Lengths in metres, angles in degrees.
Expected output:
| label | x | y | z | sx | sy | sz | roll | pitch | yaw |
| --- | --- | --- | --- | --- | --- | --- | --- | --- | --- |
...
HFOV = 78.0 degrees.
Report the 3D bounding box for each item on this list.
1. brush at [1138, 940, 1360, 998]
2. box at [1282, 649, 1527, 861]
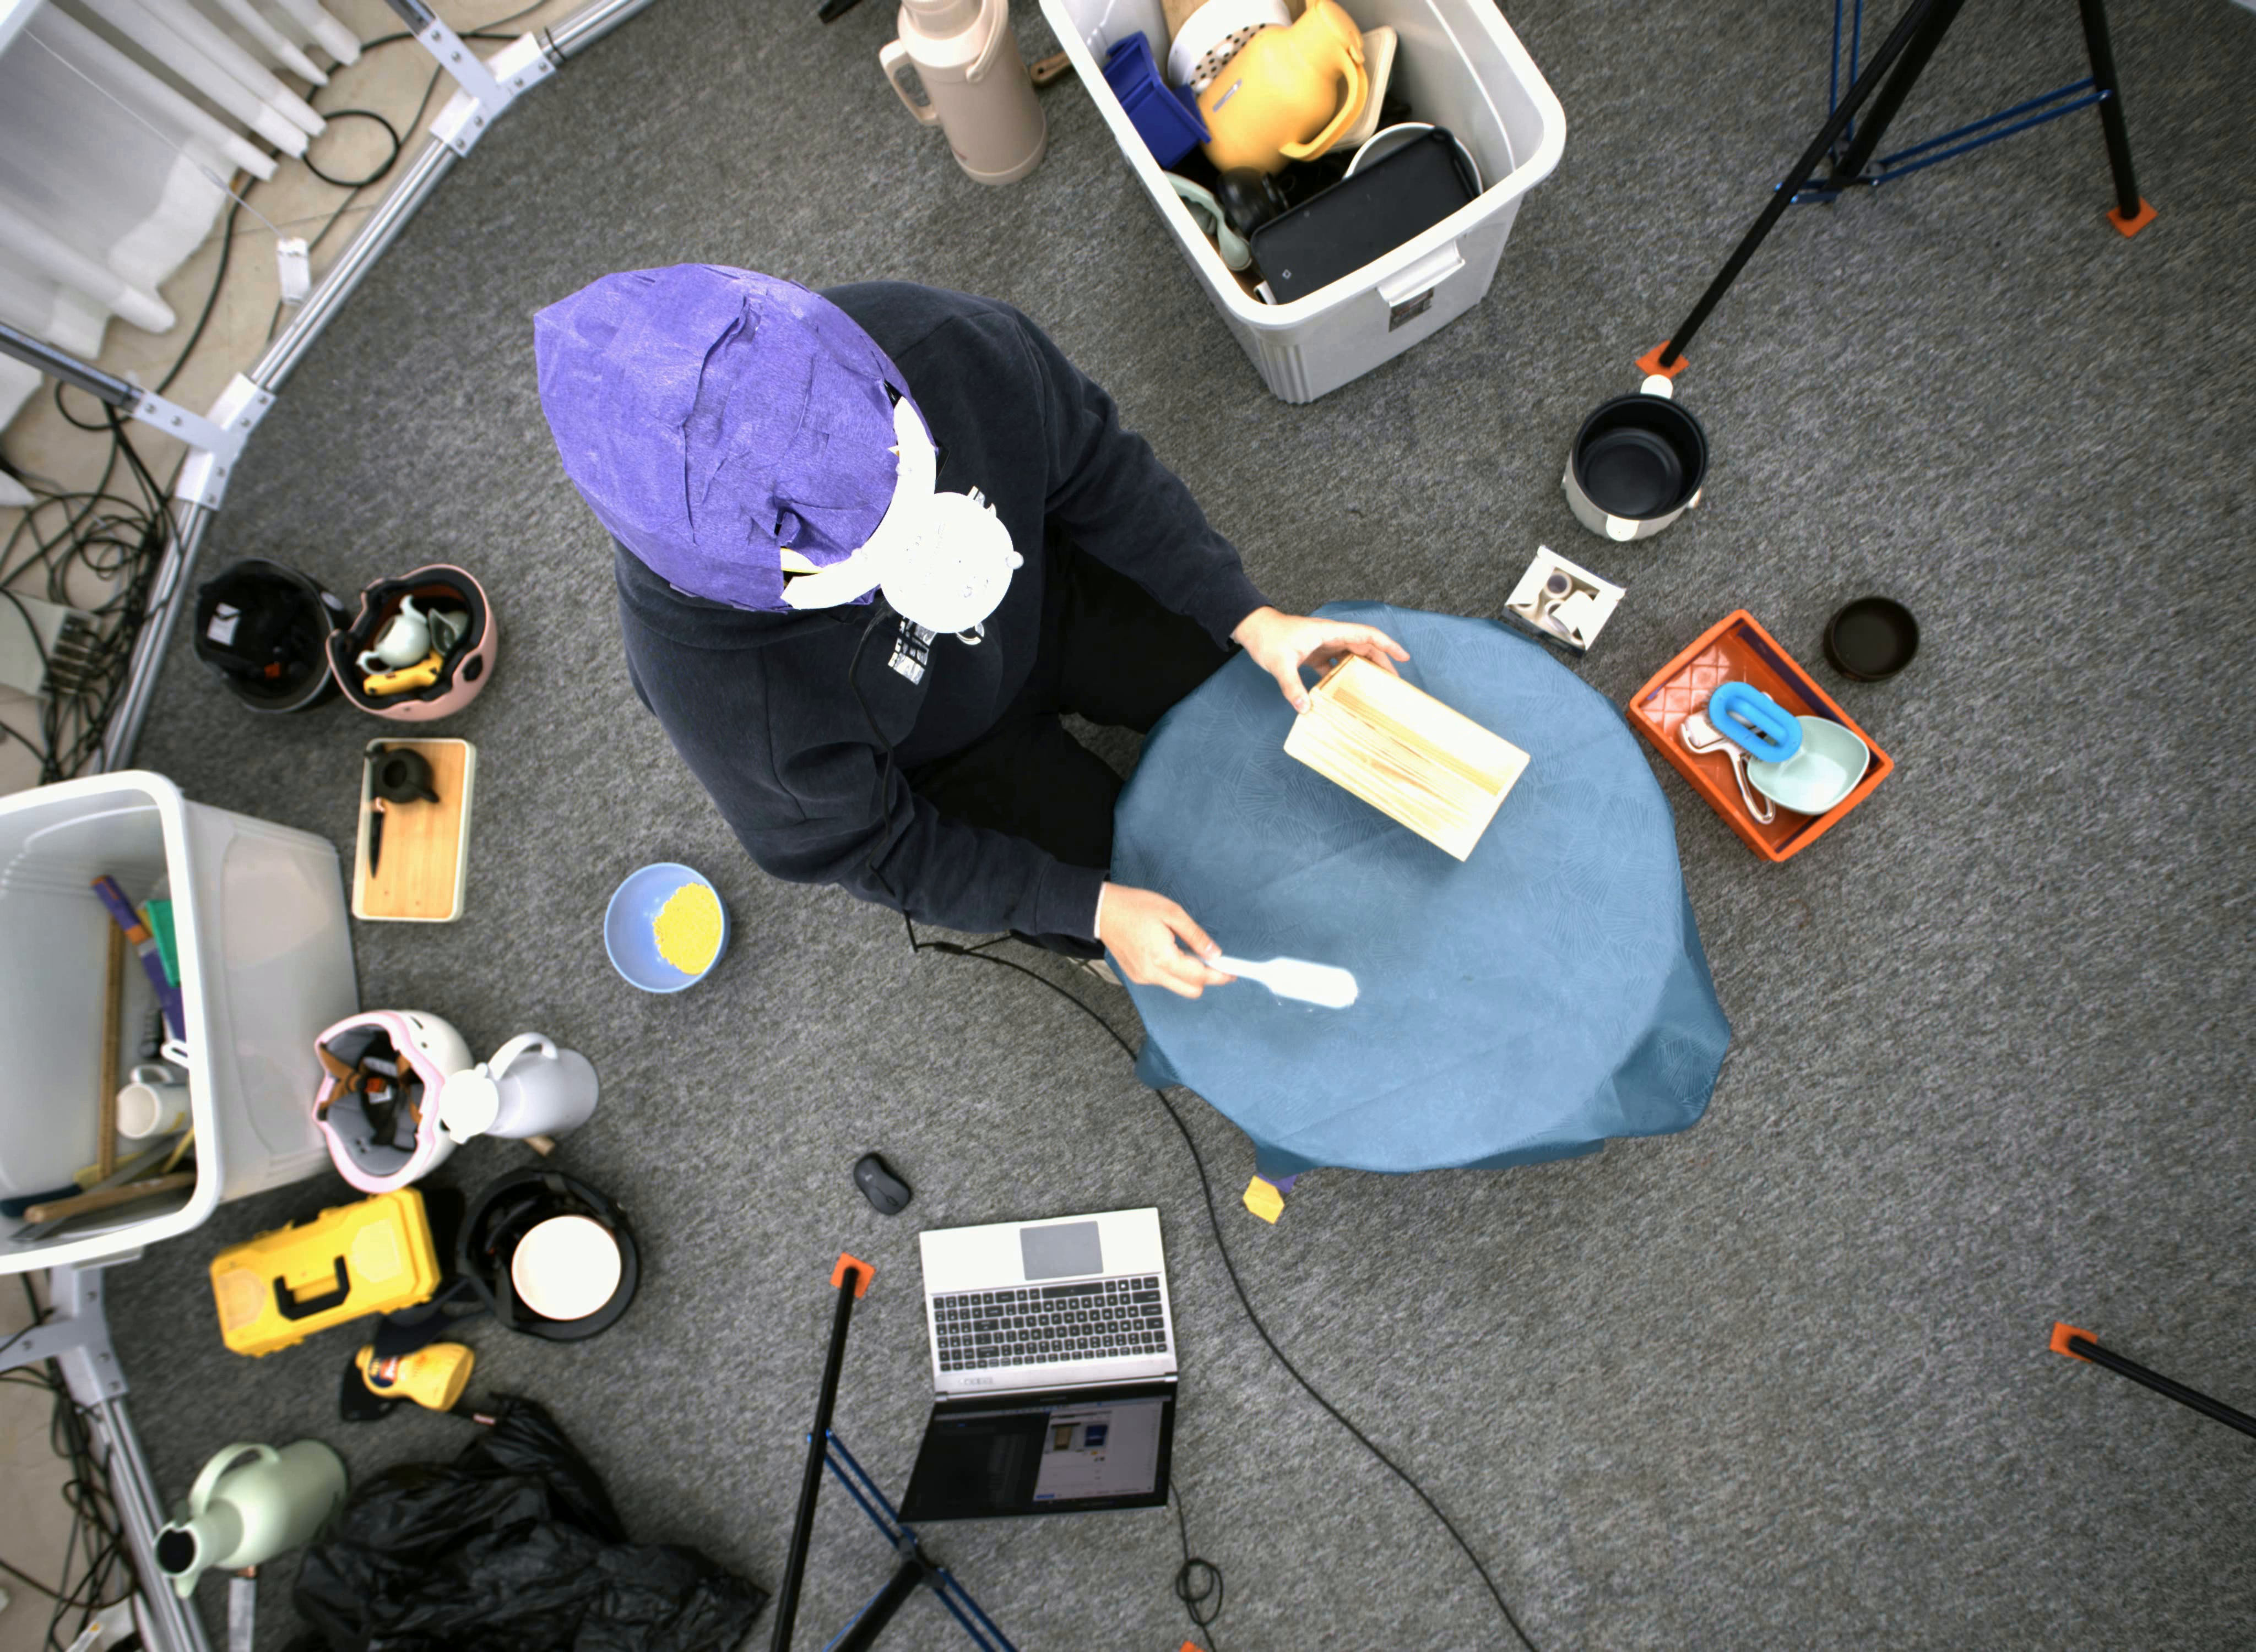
| label | x | y | z | sx | sy | sz | roll | pitch | yaw |
| --- | --- | --- | --- | --- | --- | --- | --- | --- | --- |
| brush | 0.117 | 0.139 | 1.381 | 0.230 | 0.049 | 0.038 | 5 | 88 | 22 |
| box | 0.275 | -0.075 | 1.369 | 0.211 | 0.105 | 0.082 | 33 | 132 | 11 |
